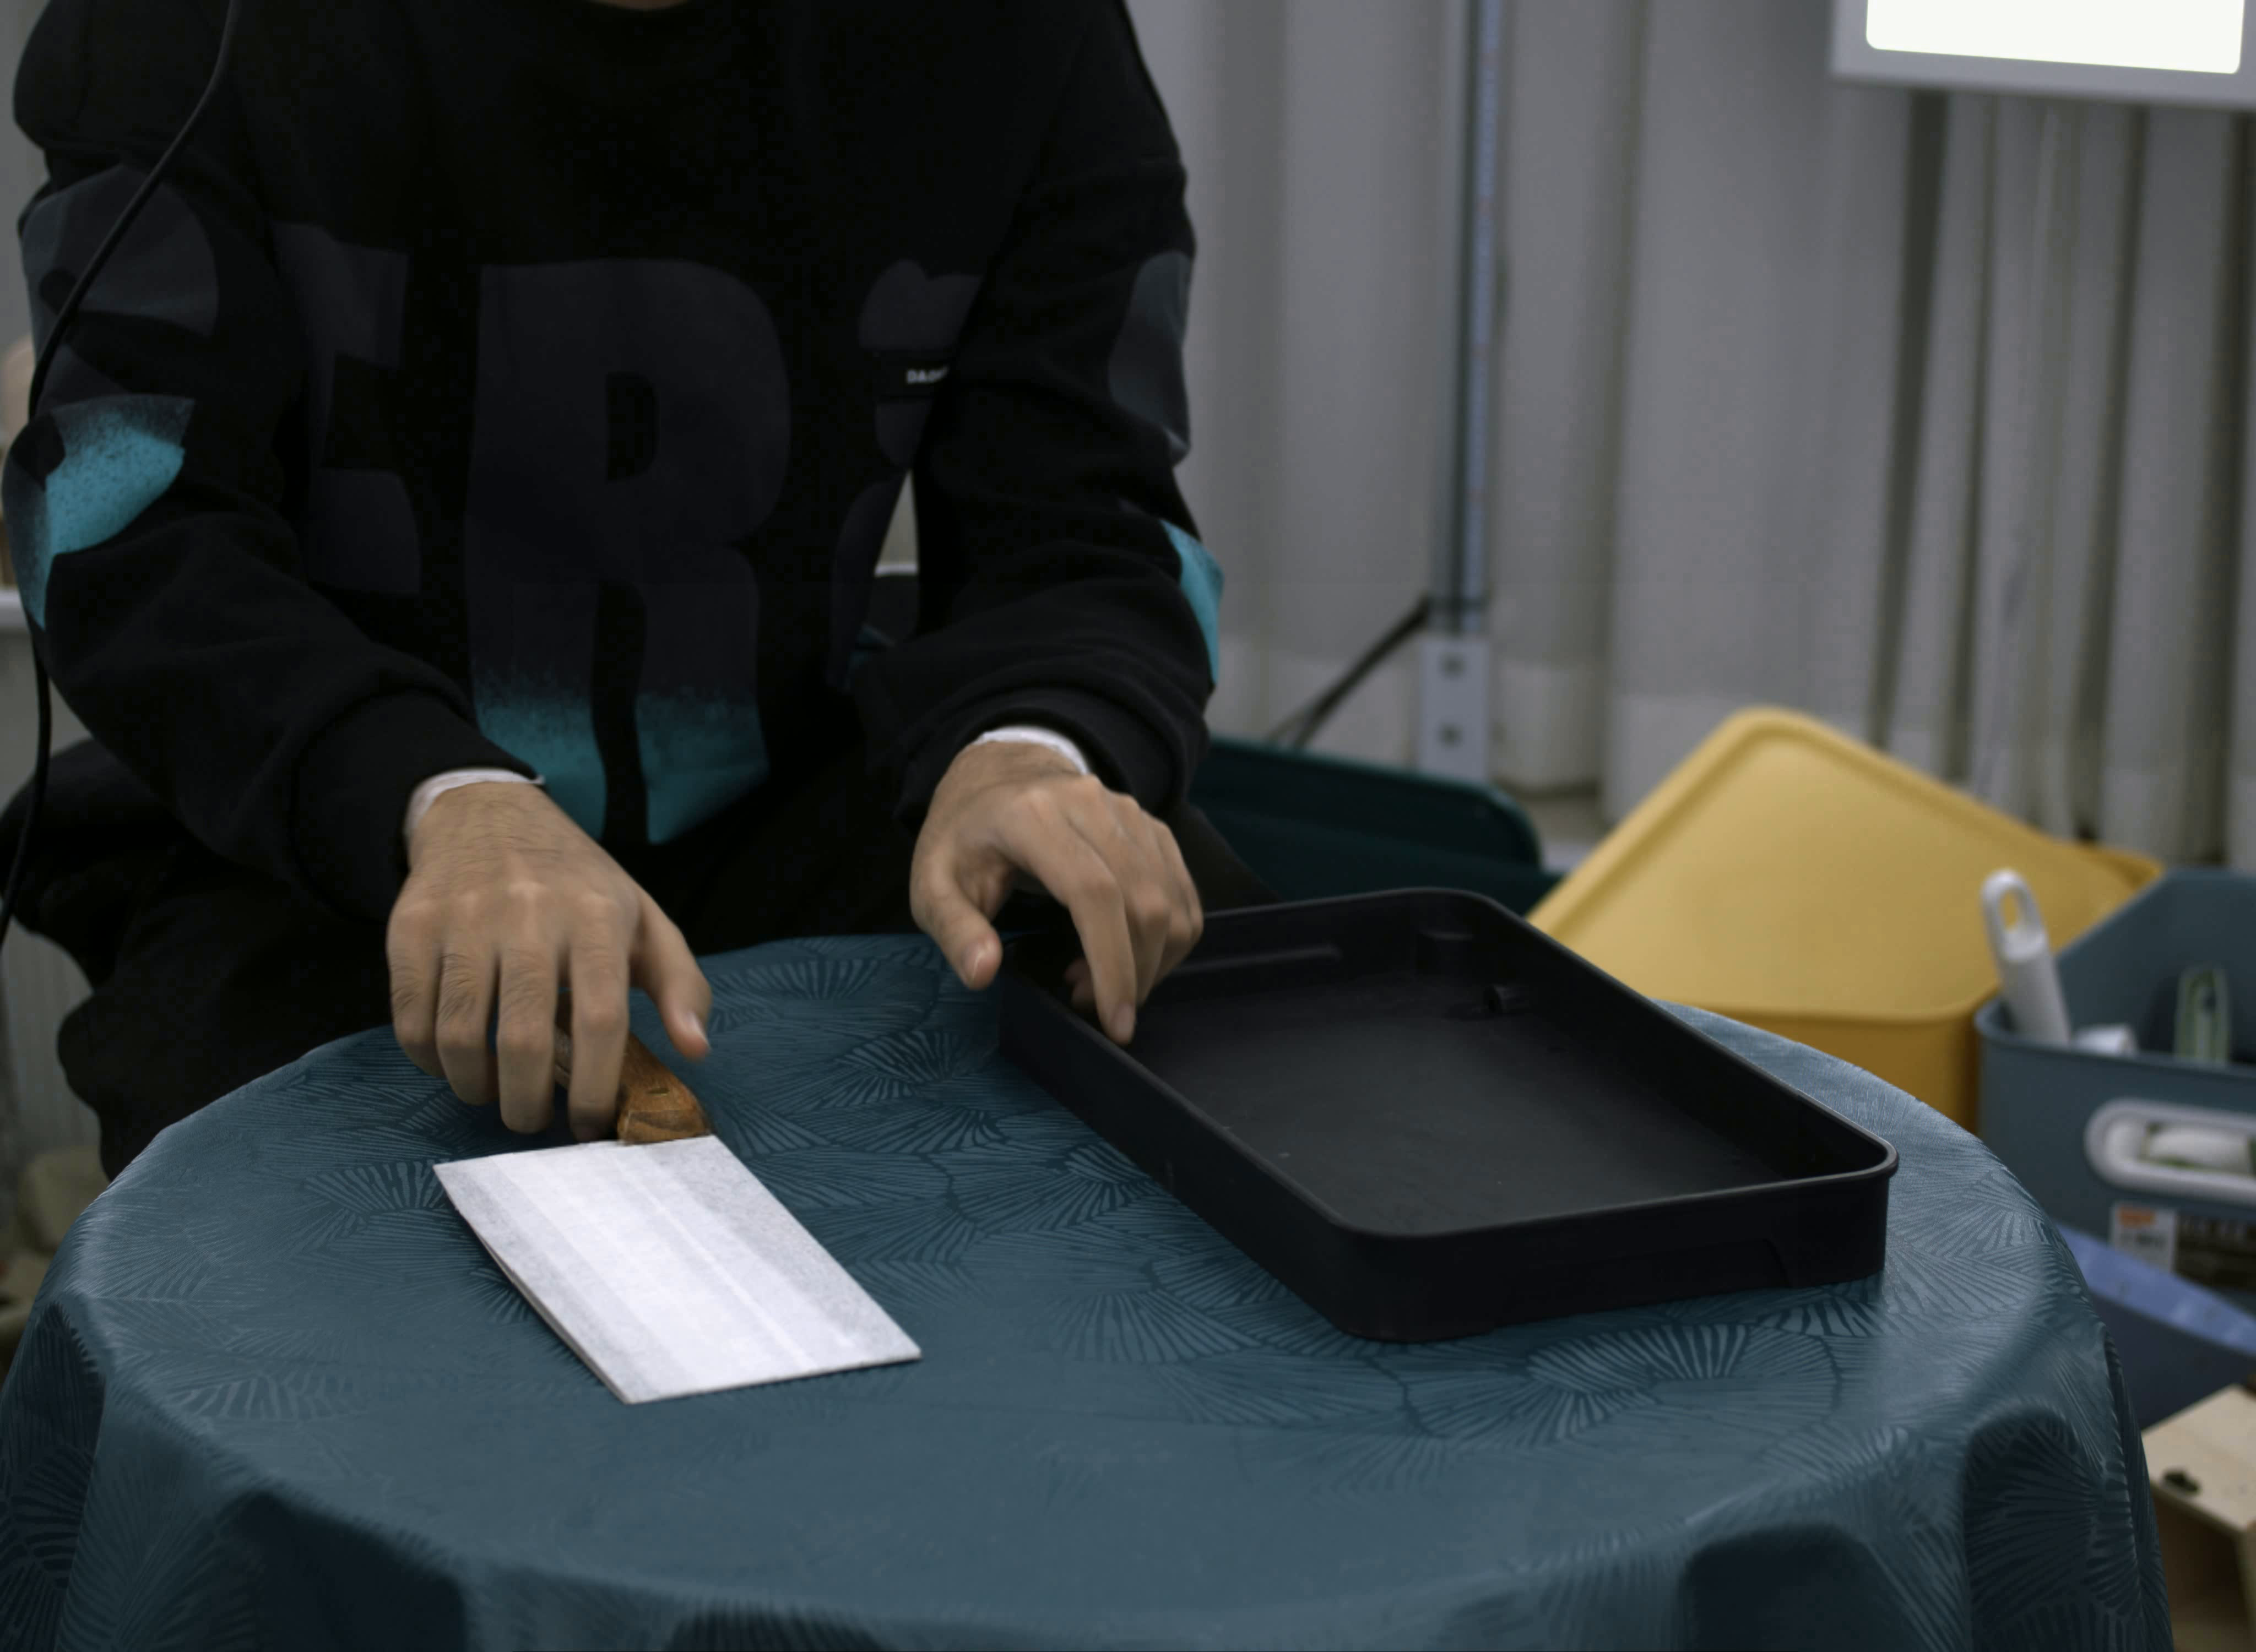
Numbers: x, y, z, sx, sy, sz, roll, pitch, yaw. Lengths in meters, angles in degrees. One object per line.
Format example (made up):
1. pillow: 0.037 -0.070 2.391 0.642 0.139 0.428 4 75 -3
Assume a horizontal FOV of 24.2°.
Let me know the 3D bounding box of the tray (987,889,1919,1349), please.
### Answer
1. tray: 0.094 0.086 1.652 0.185 0.037 0.314 -7 17 -23

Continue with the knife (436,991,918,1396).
1. knife: -0.156 0.110 1.596 0.093 0.021 0.302 -7 20 -22
